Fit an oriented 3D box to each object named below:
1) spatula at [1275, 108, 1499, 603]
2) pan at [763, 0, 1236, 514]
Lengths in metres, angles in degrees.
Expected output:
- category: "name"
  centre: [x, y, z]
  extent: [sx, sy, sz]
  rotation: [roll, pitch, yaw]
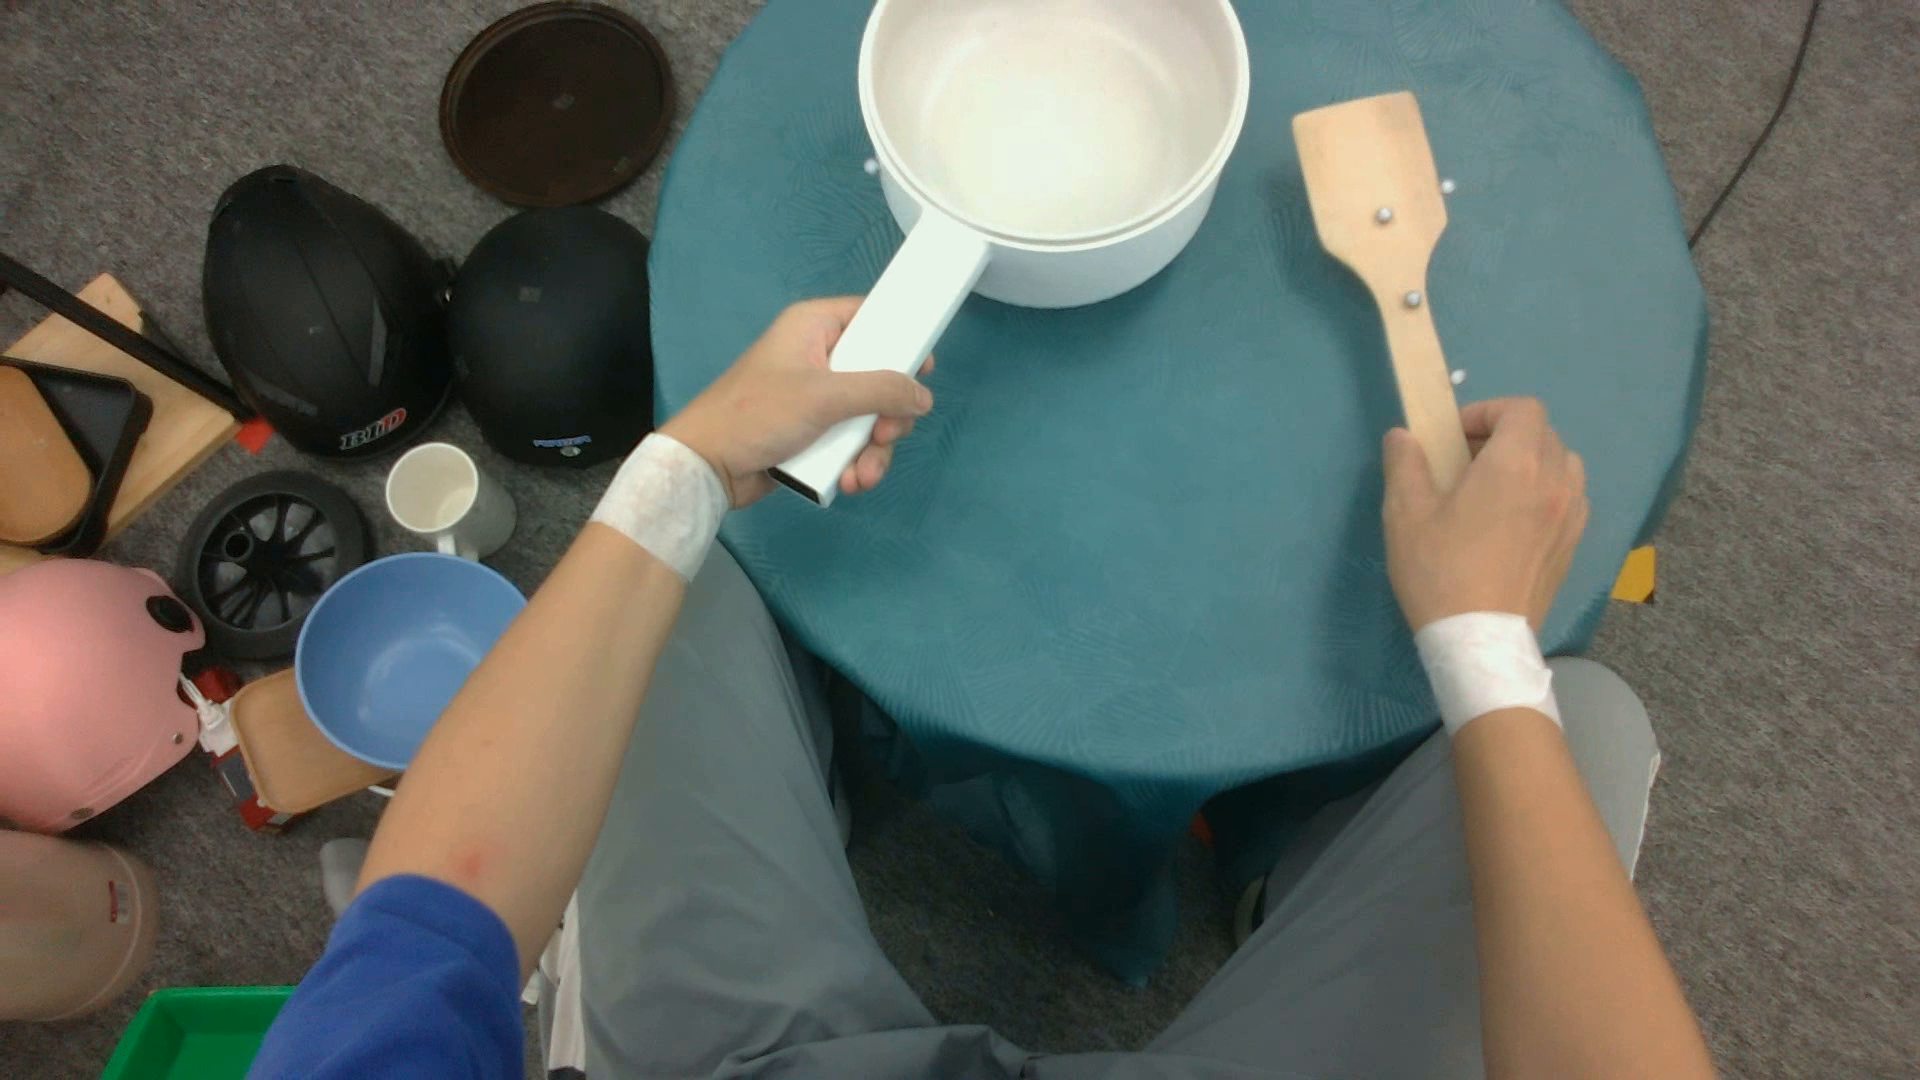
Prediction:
- category: "spatula"
  centre: [0.241, -0.106, 0.752]
  extent: [0.072, 0.010, 0.293]
  rotation: [-12, 72, 4]
- category: "pan"
  centre: [0.009, -0.161, 0.757]
  extent: [0.201, 0.102, 0.355]
  rotation: [29, 76, 8]
